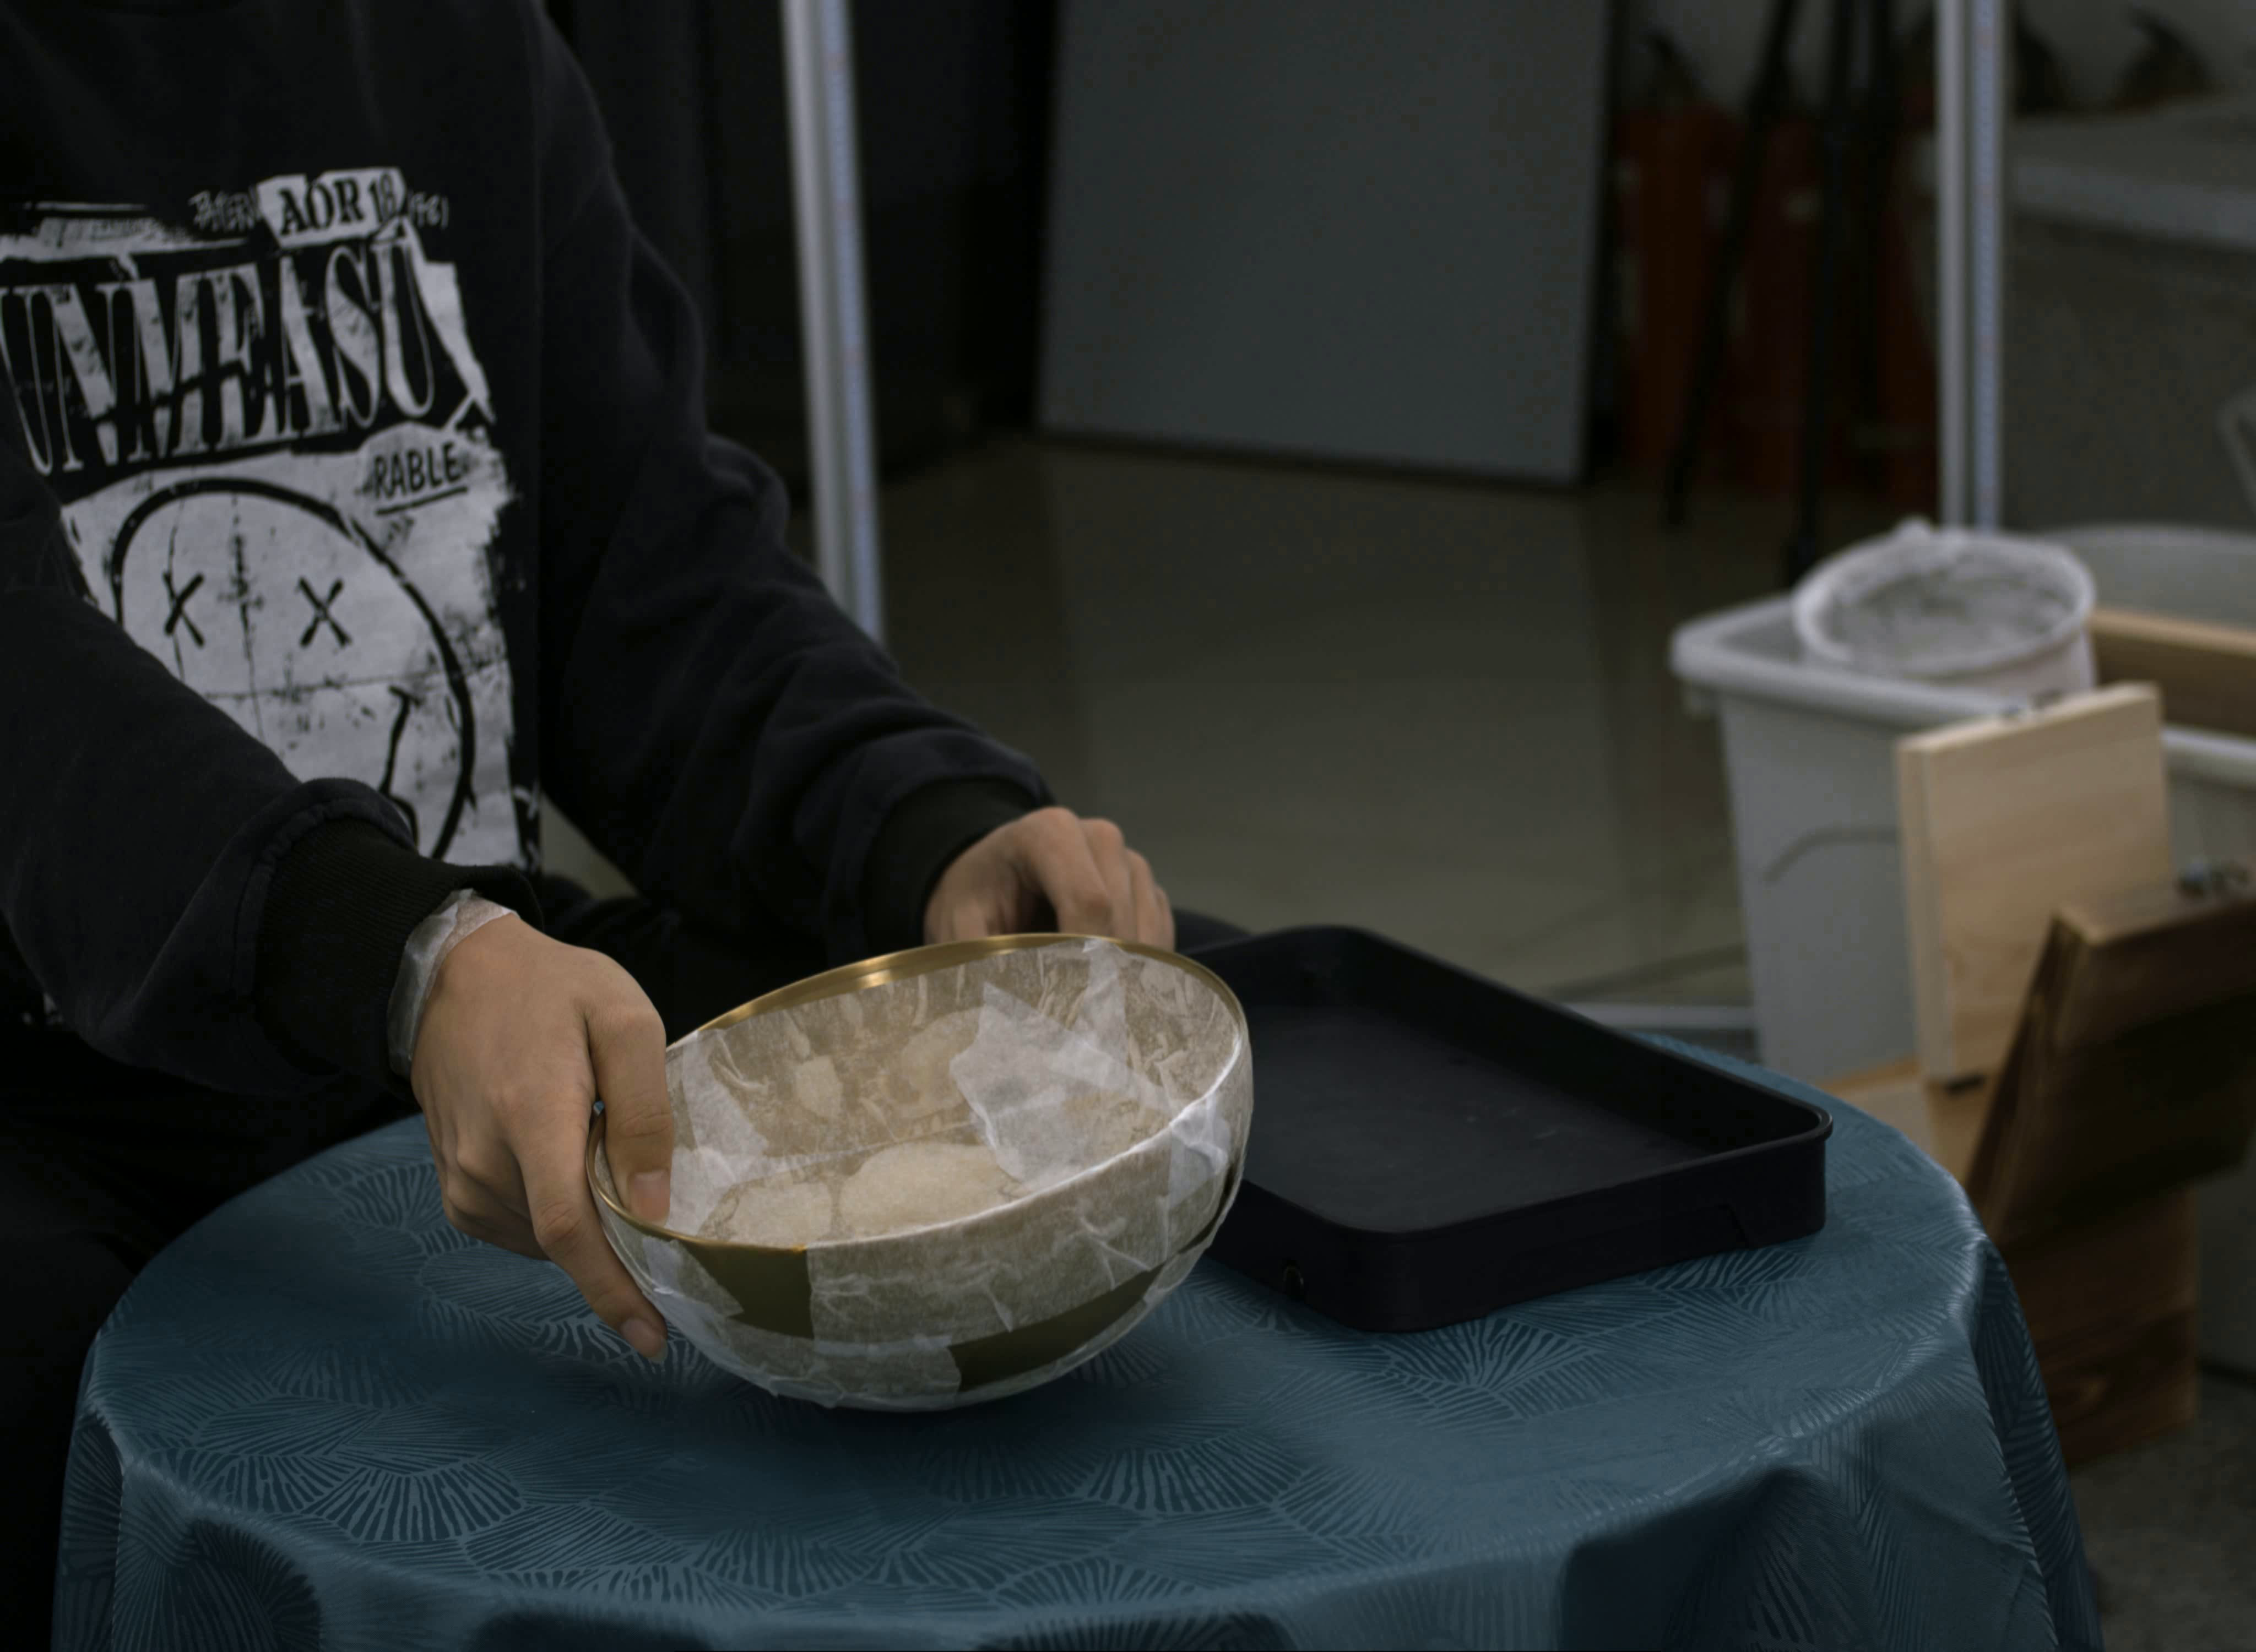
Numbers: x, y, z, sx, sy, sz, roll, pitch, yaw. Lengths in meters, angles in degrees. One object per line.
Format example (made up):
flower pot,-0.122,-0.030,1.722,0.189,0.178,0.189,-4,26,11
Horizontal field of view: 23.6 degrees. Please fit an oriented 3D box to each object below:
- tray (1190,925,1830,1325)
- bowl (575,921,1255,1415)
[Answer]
tray,0.076,0.093,1.779,0.180,0.037,0.321,-12,15,-26
bowl,-0.054,0.112,1.598,0.212,0.095,0.215,-13,22,4
